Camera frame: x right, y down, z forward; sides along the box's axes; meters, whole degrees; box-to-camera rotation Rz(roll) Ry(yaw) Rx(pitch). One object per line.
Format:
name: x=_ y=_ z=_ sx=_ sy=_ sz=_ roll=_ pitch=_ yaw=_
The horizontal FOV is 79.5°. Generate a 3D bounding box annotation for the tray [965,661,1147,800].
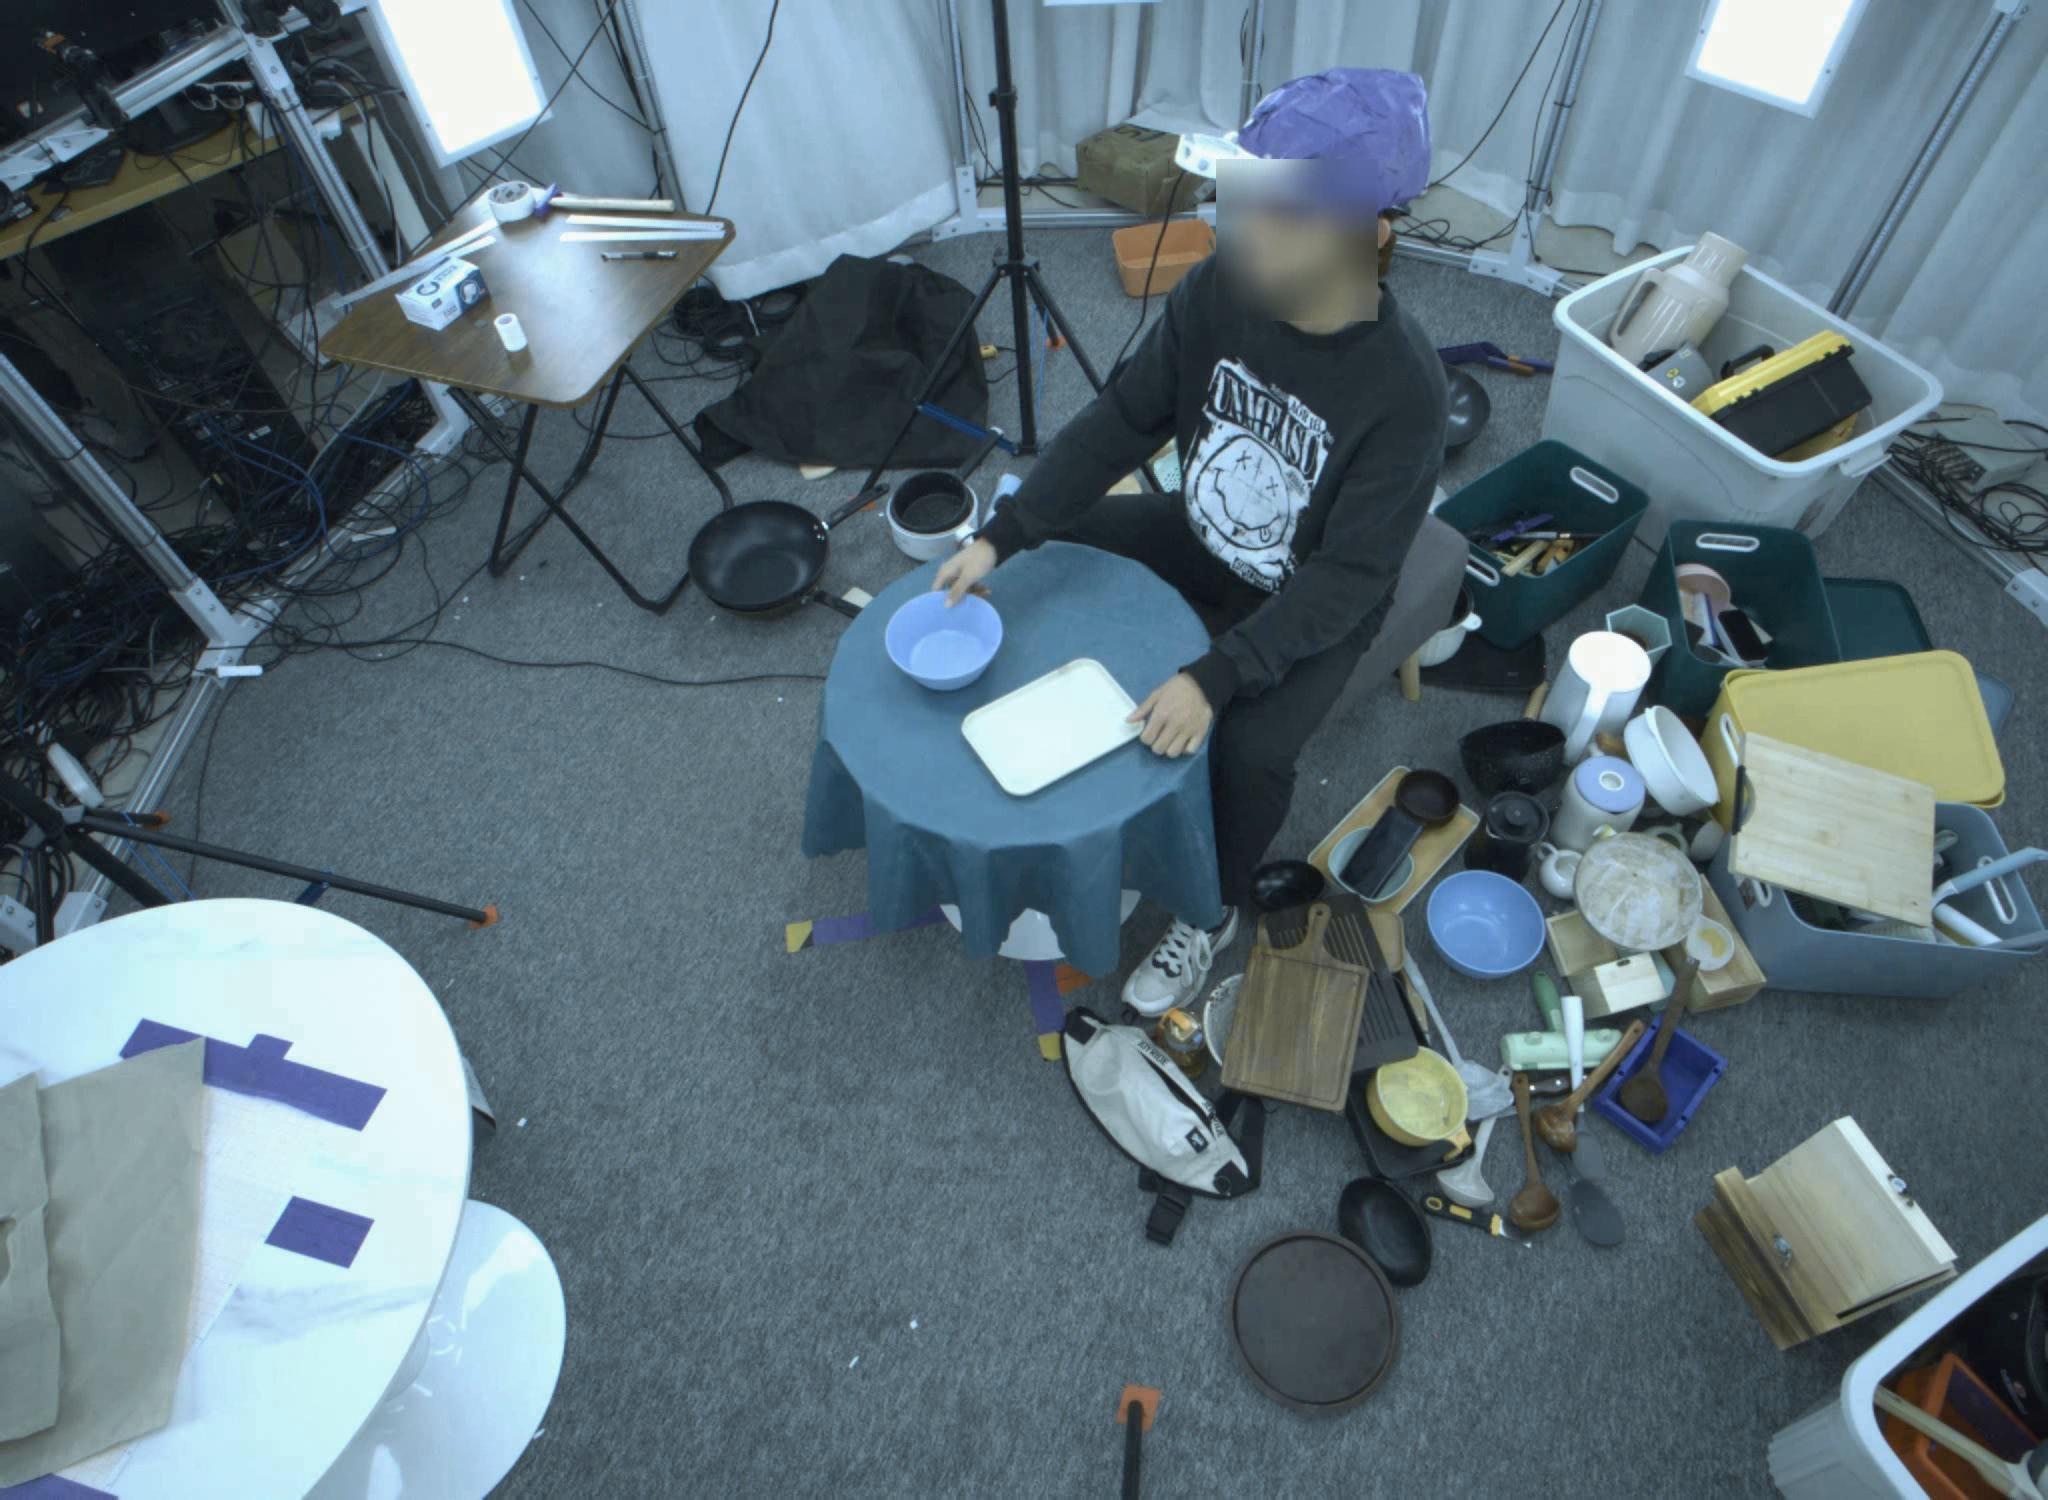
tray: x=0.047 y=-0.030 z=1.806 sx=0.241 sy=0.017 sz=0.168 roll=-28 pitch=59 yaw=-17

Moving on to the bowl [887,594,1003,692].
bowl: x=-0.118 y=-0.153 z=1.865 sx=0.176 sy=0.071 sz=0.174 roll=0 pitch=55 yaw=1
